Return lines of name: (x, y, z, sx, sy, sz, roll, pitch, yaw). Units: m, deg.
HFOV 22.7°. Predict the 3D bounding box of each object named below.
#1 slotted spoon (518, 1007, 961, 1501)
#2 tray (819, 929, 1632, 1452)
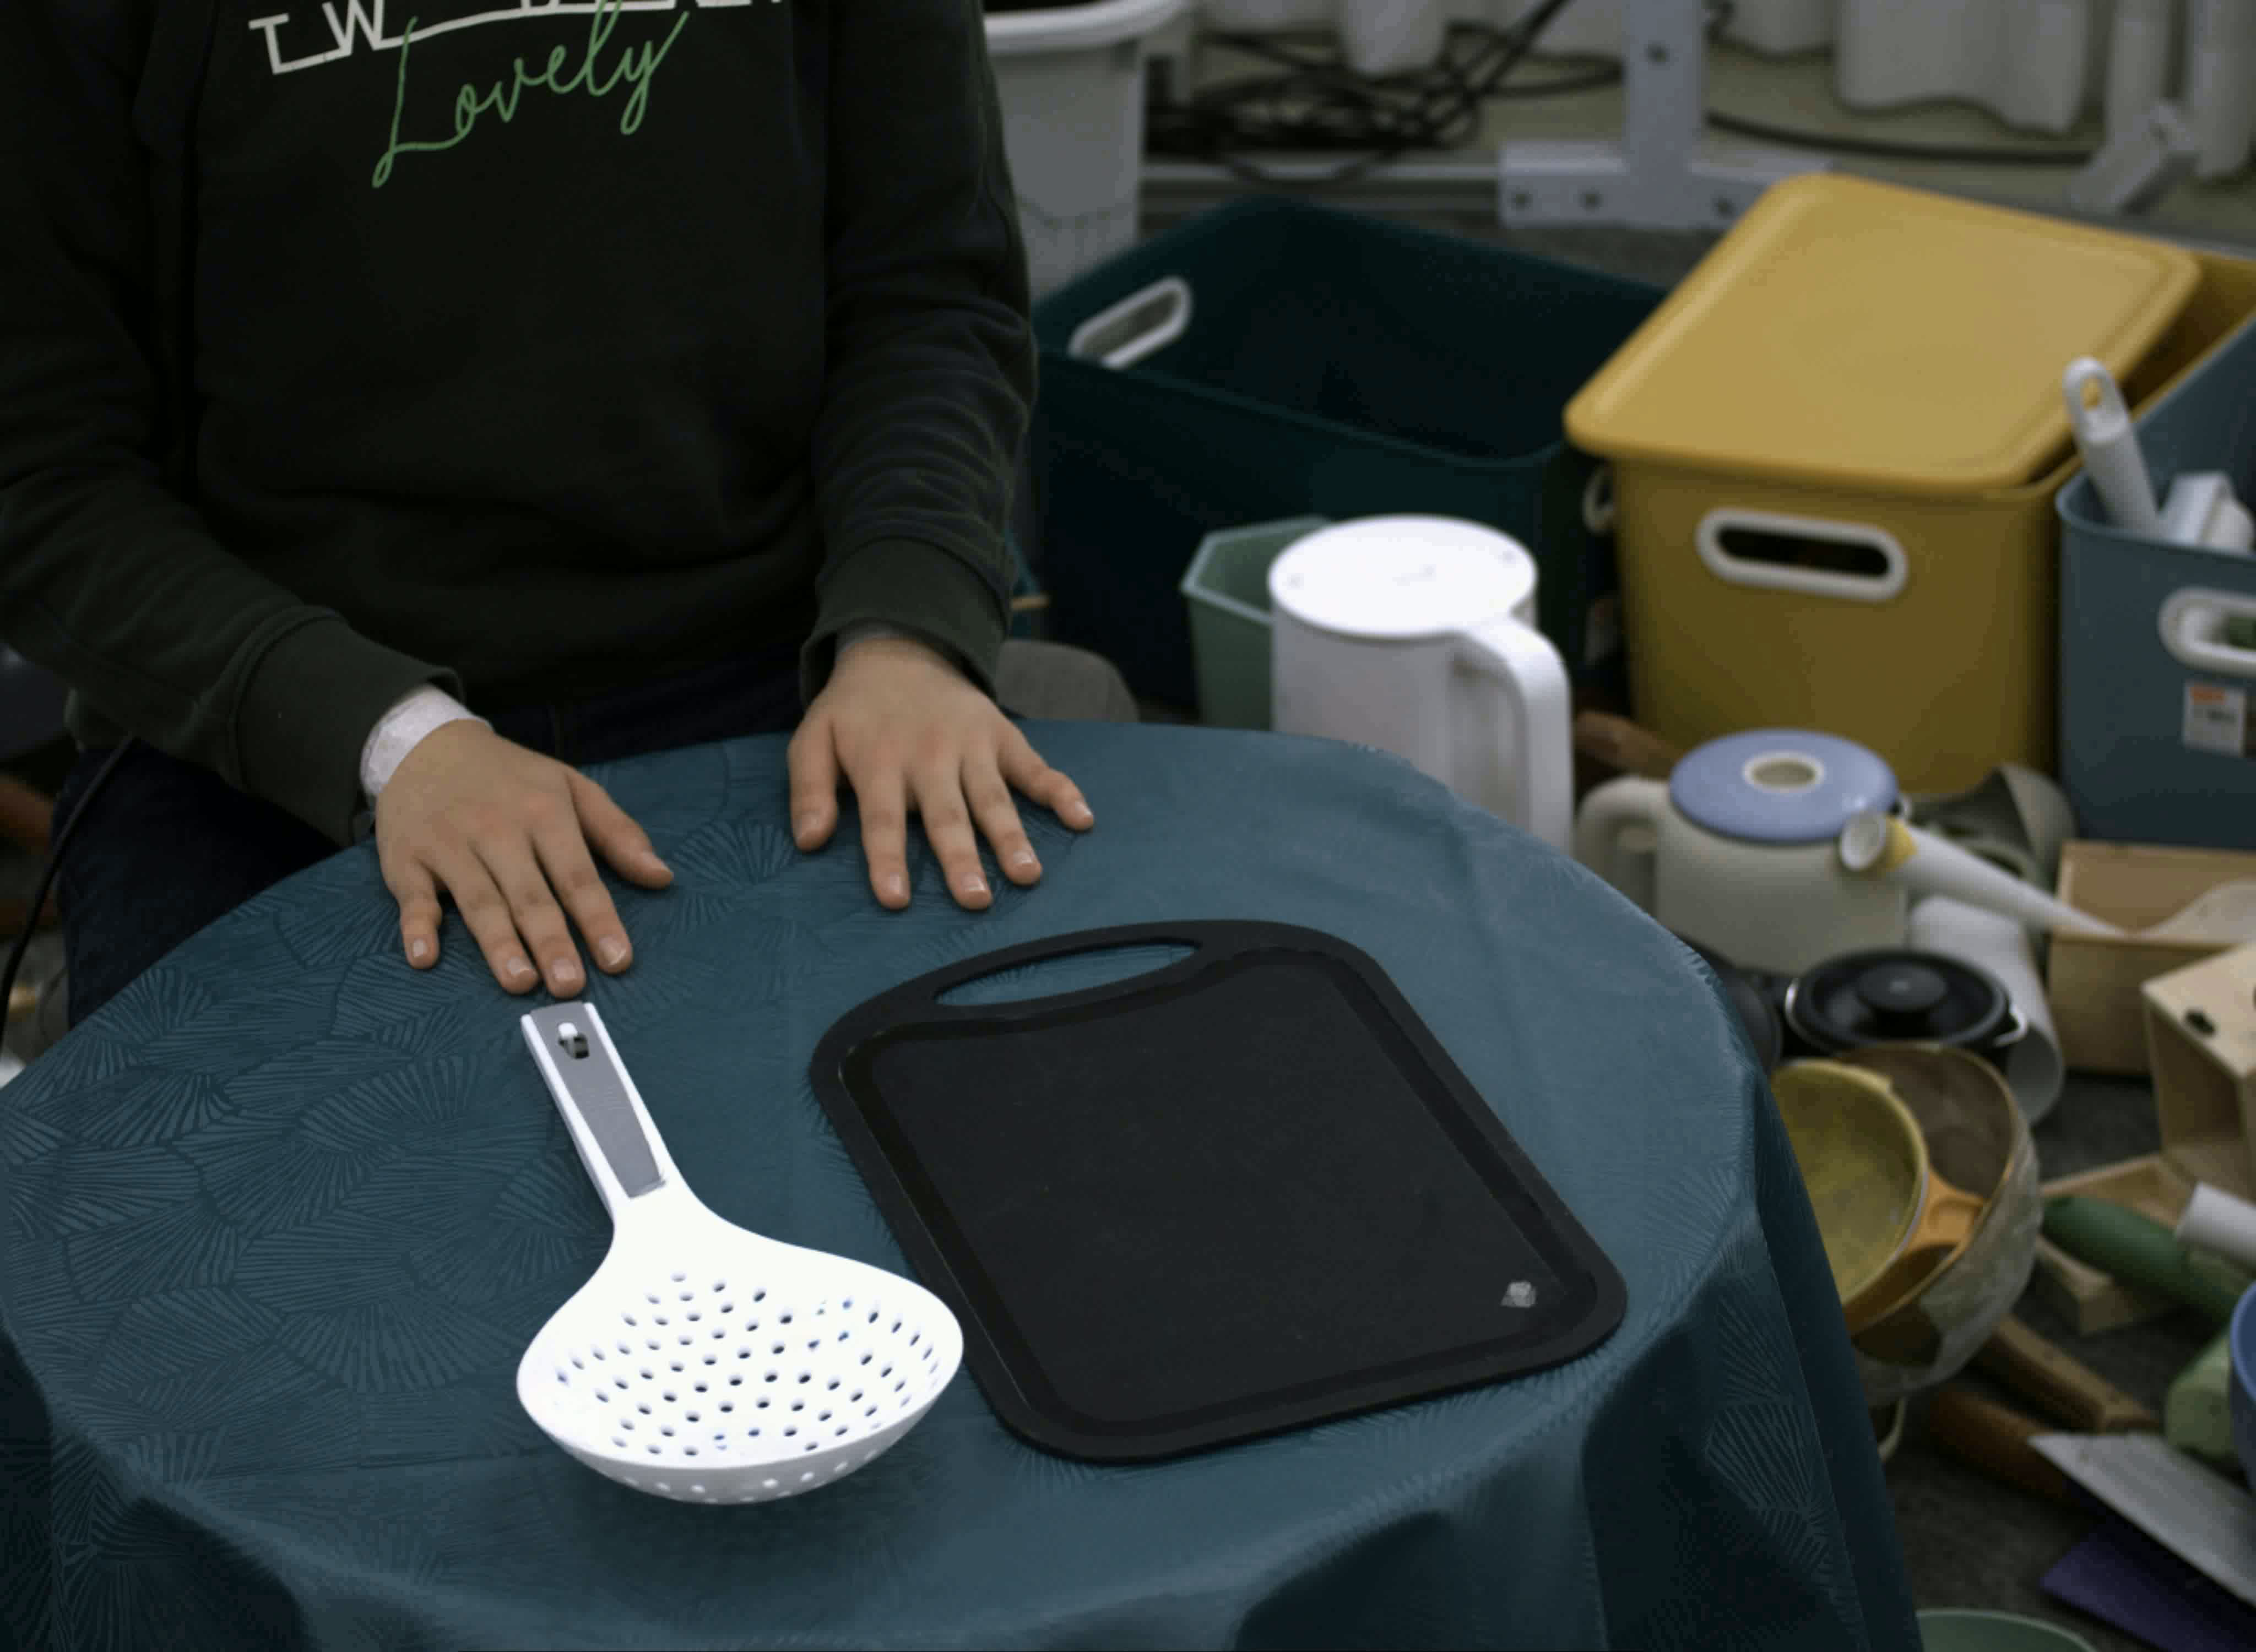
slotted spoon: (-0.149, 0.131, 1.808, 0.136, 0.045, 0.353, -8, 27, -15)
tray: (0.022, 0.111, 1.871, 0.211, 0.009, 0.328, -10, 28, -15)
